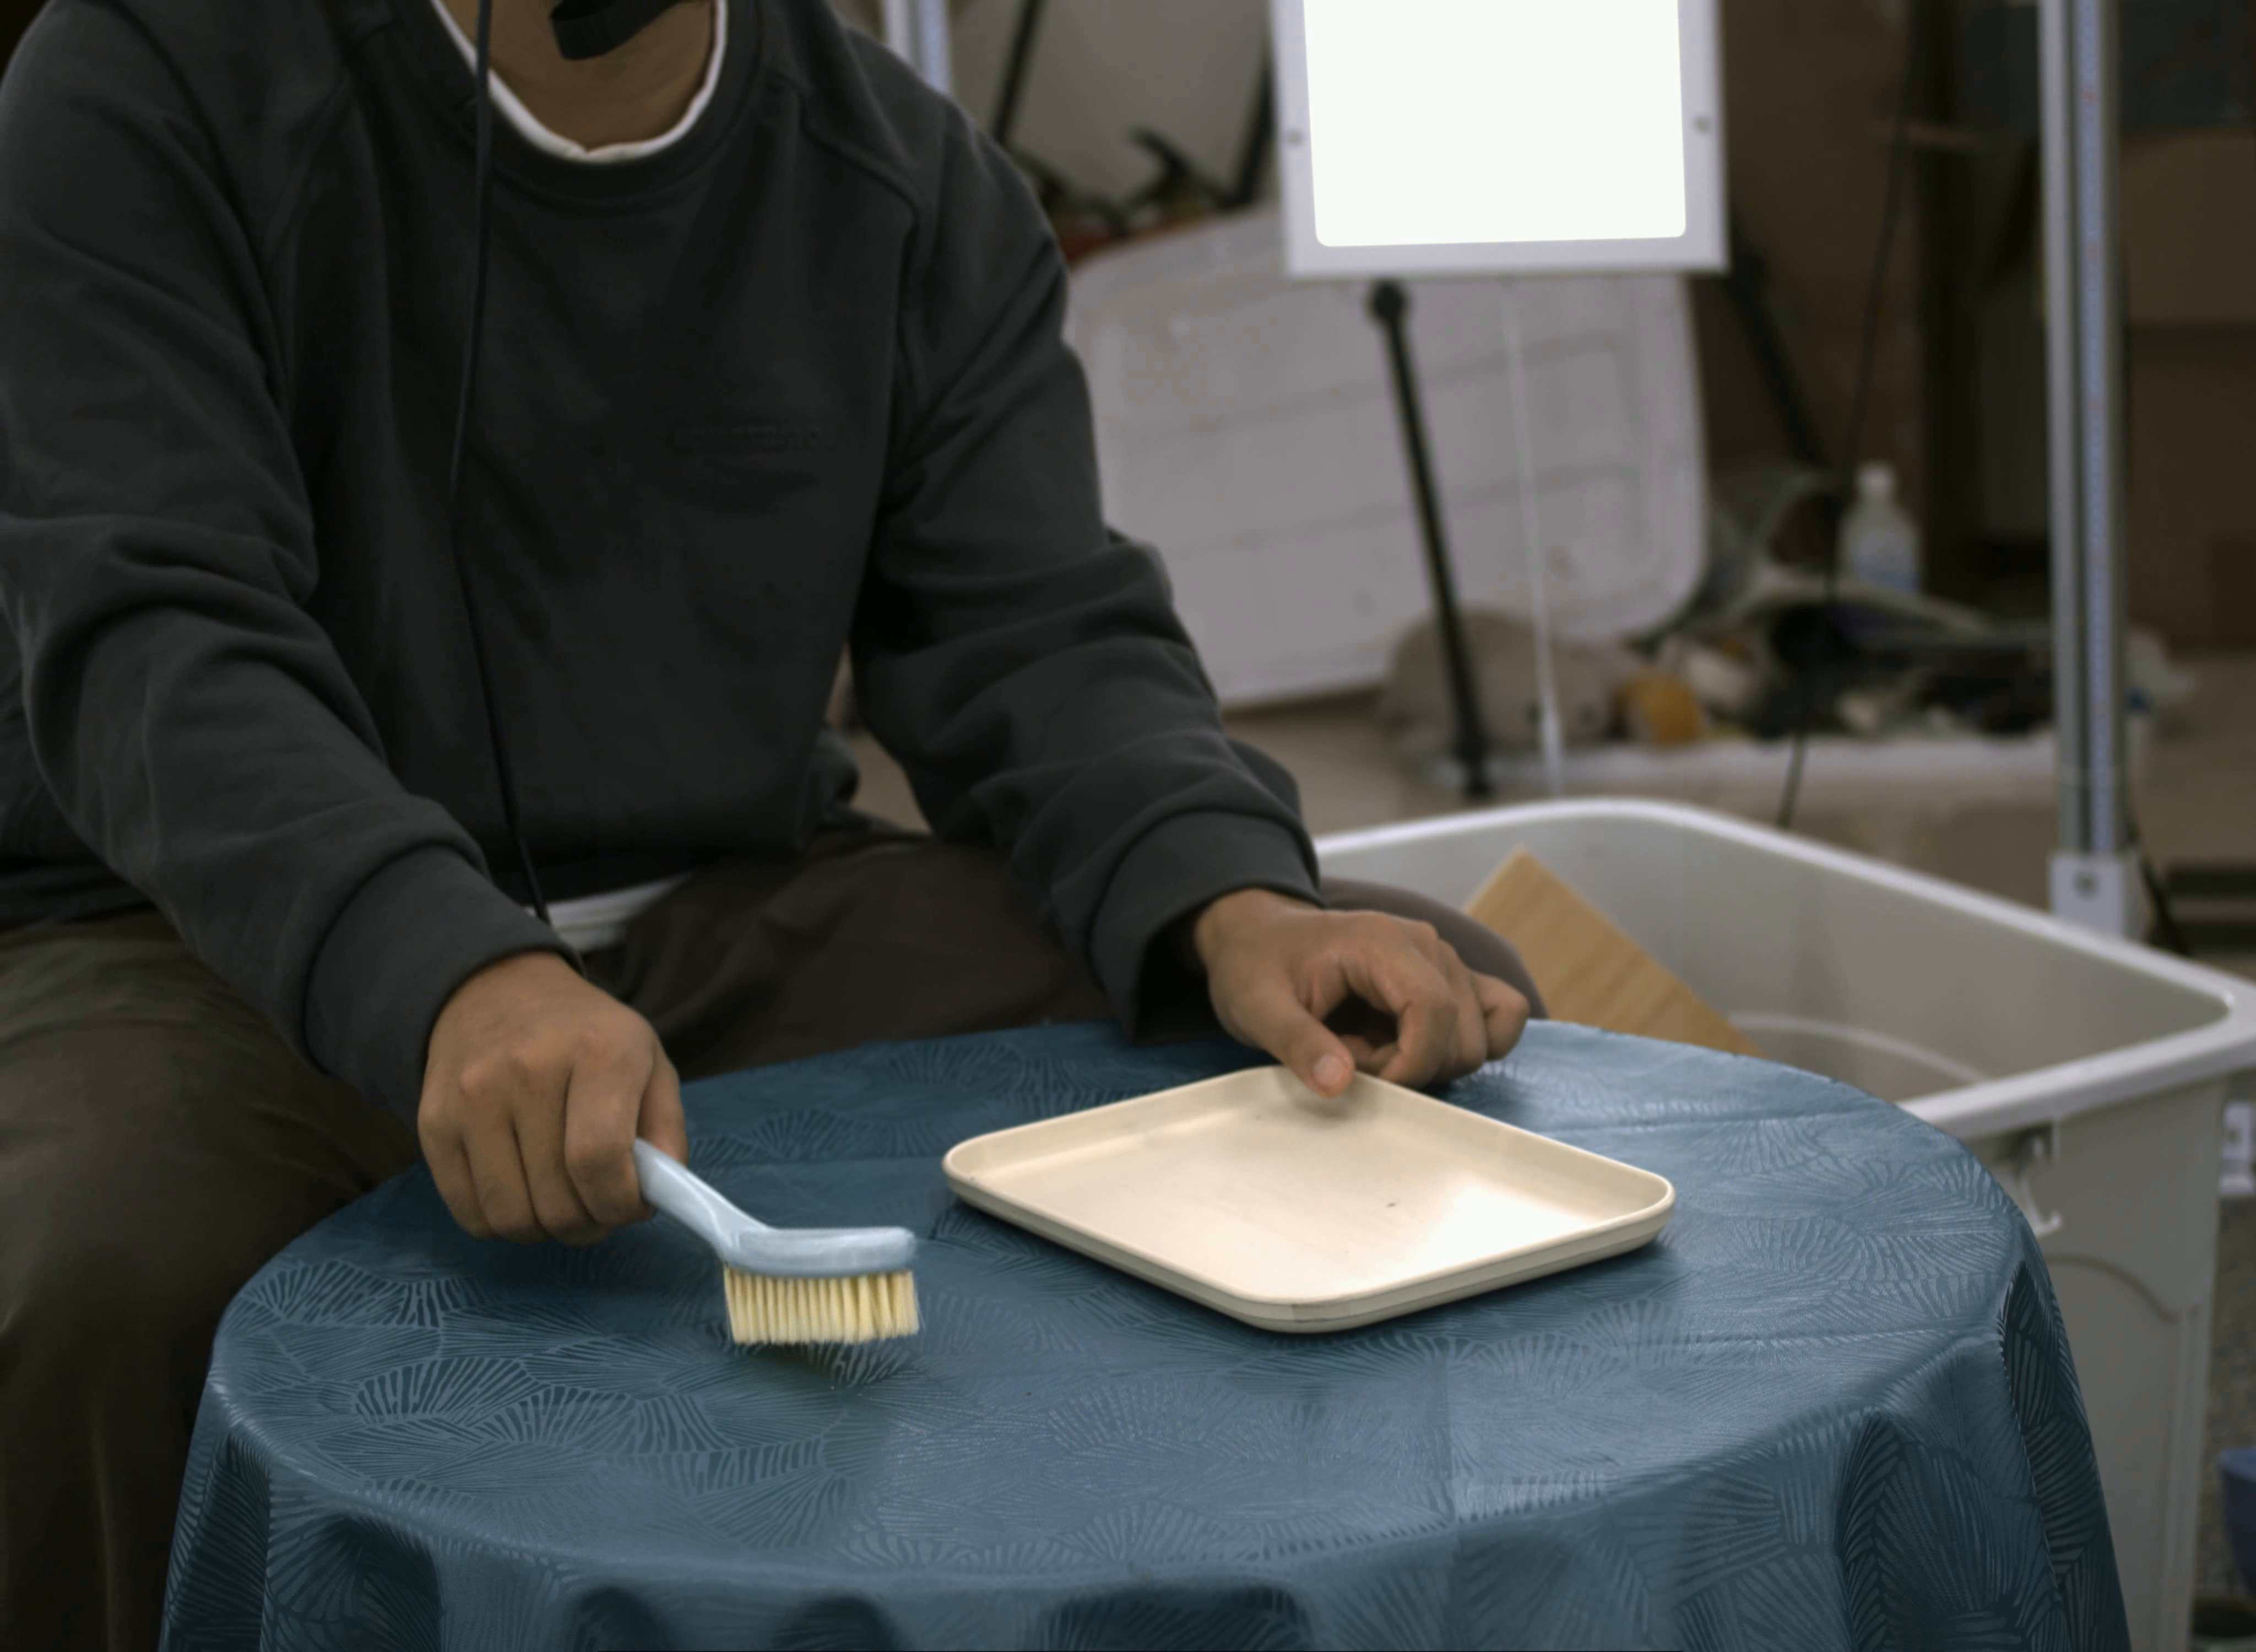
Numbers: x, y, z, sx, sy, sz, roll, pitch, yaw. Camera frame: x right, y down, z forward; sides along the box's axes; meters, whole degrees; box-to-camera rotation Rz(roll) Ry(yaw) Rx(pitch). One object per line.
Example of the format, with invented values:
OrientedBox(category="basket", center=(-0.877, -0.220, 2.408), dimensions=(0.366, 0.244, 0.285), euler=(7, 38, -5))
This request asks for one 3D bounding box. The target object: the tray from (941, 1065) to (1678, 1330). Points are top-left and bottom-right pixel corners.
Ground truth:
OrientedBox(category="tray", center=(0.059, 0.124, 1.850), dimensions=(0.167, 0.017, 0.244), euler=(-12, 15, -29))

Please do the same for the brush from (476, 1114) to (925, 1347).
OrientedBox(category="brush", center=(-0.144, 0.134, 1.803), dimensions=(0.037, 0.050, 0.233), euler=(-6, 13, -39))
